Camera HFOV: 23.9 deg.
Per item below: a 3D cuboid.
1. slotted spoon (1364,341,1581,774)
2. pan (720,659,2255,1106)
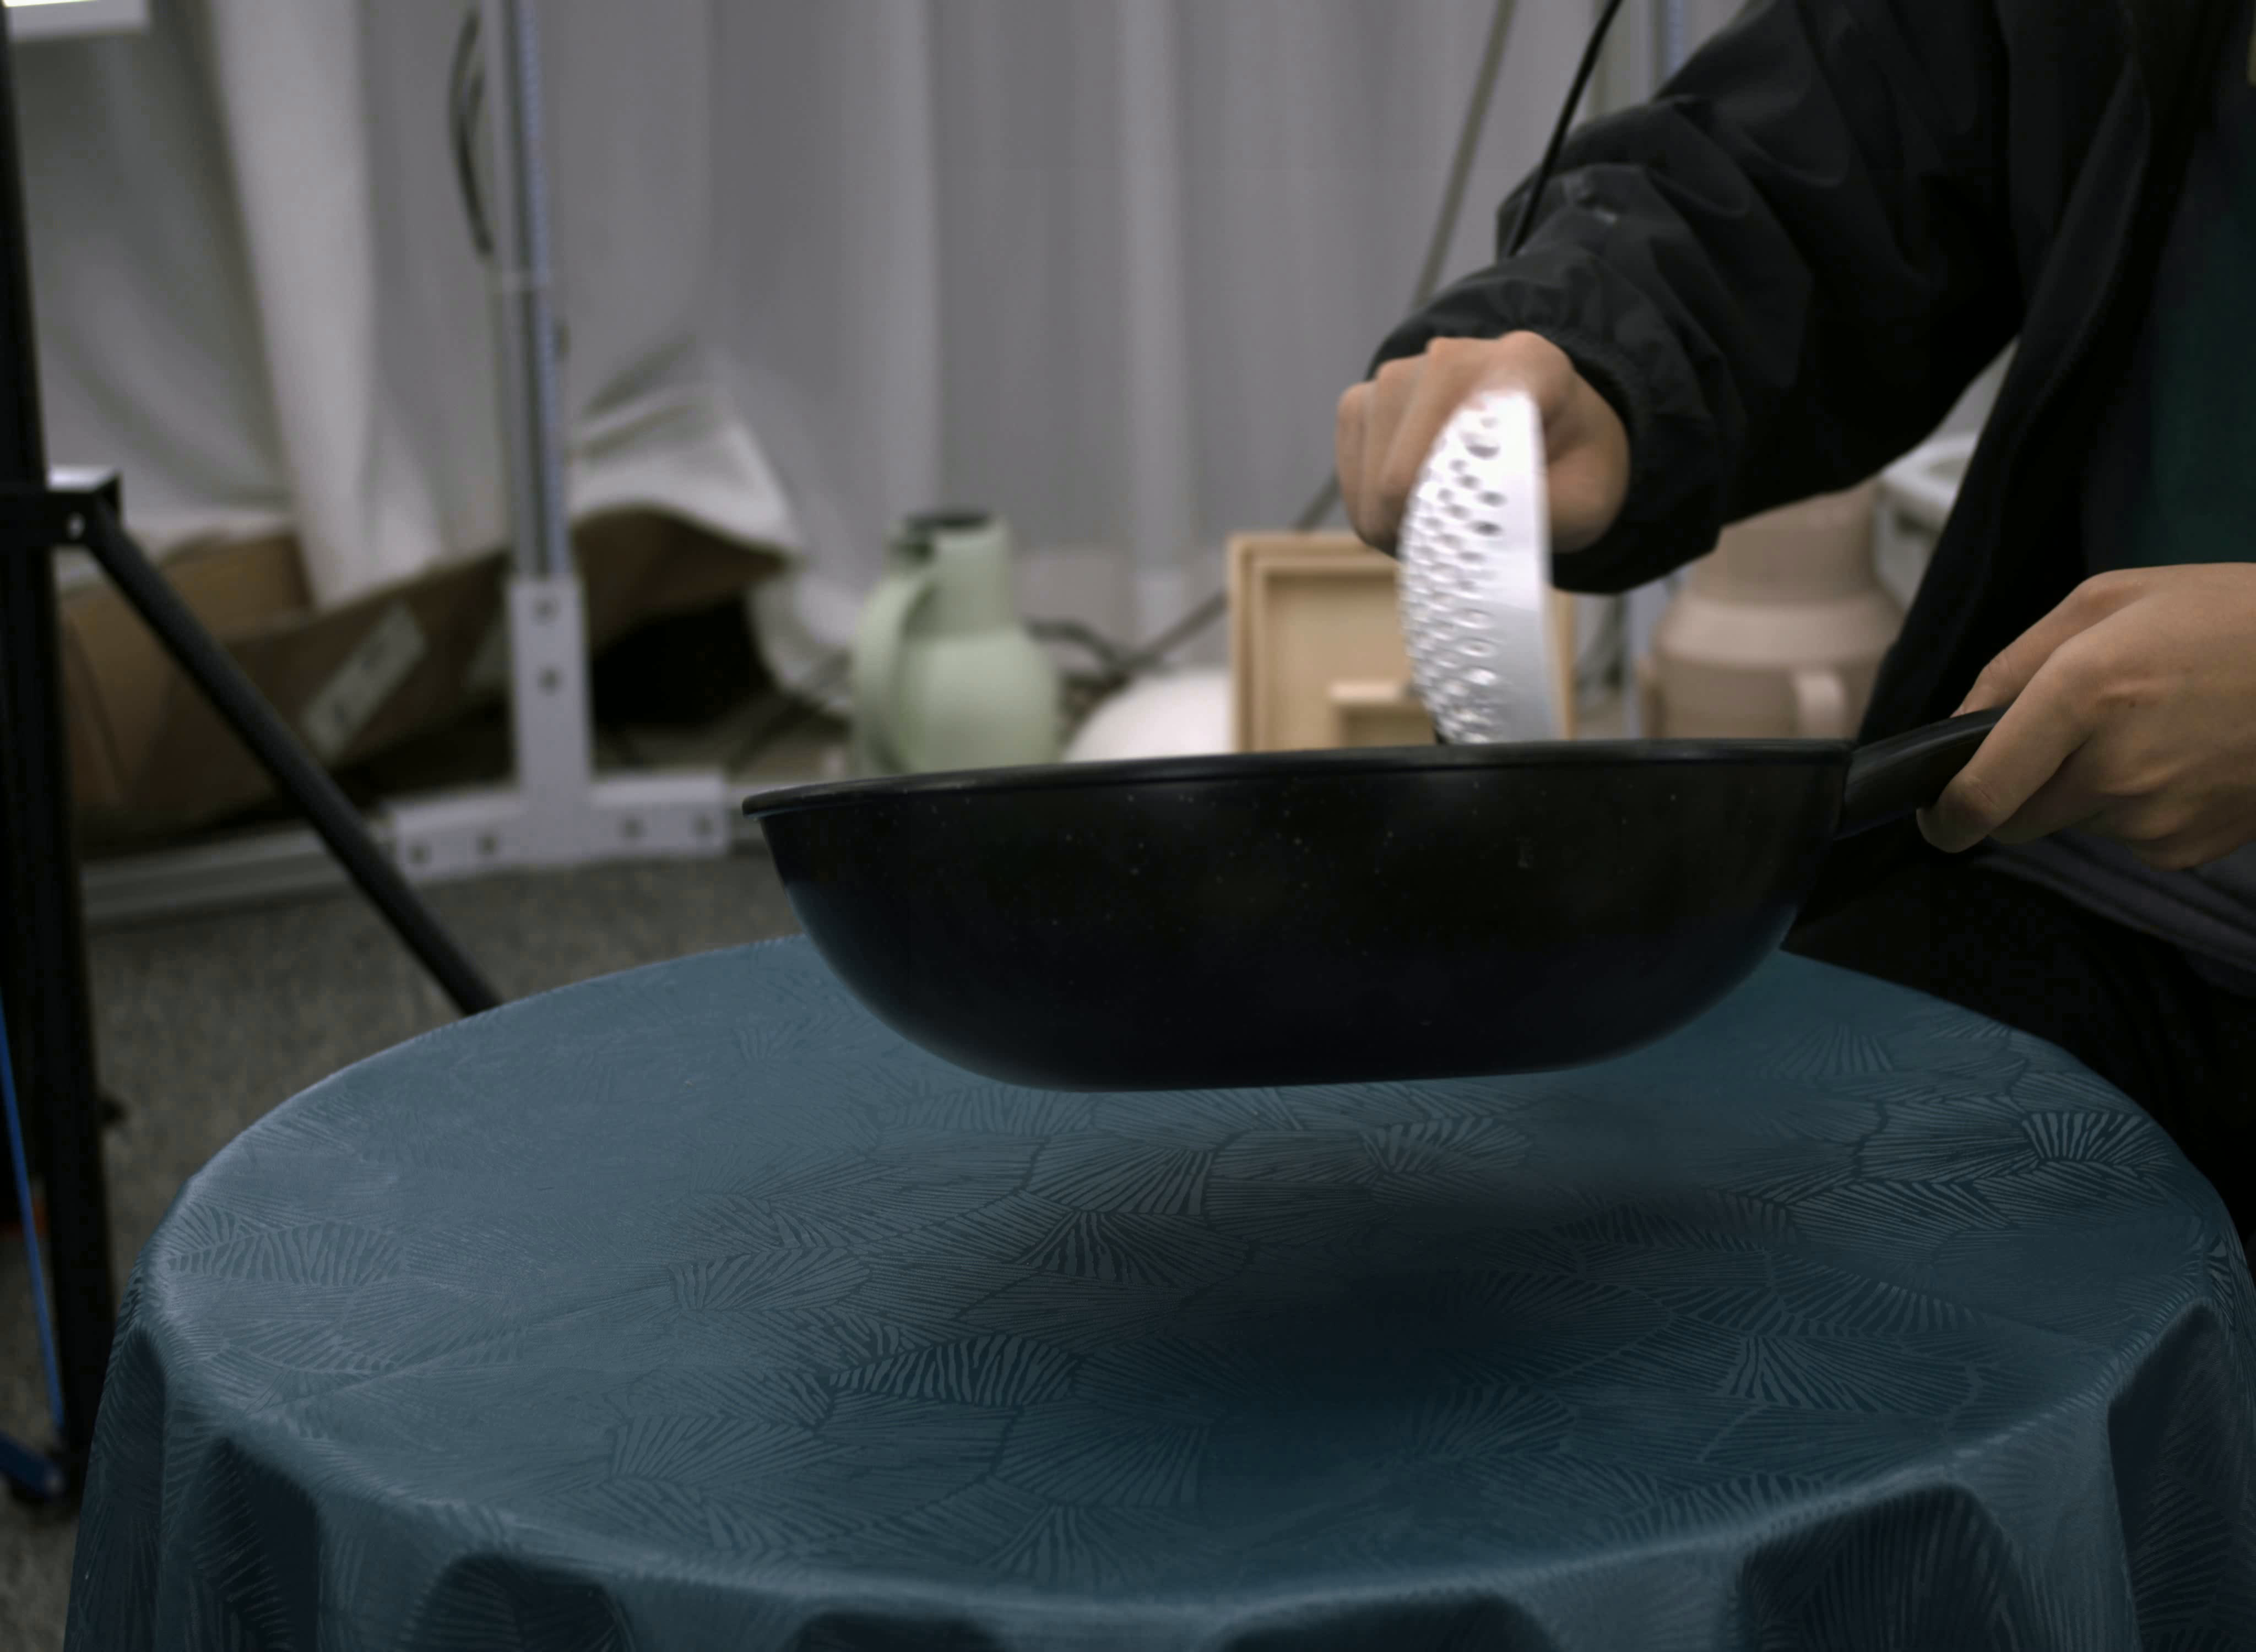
[{"bbox_3d":[0.097,-0.082,1.575,0.050,0.137,0.348,-8,10,4],"label":"slotted spoon"},{"bbox_3d":[0.119,0.015,1.482,0.467,0.112,0.315,-2,0,-22],"label":"pan"}]
